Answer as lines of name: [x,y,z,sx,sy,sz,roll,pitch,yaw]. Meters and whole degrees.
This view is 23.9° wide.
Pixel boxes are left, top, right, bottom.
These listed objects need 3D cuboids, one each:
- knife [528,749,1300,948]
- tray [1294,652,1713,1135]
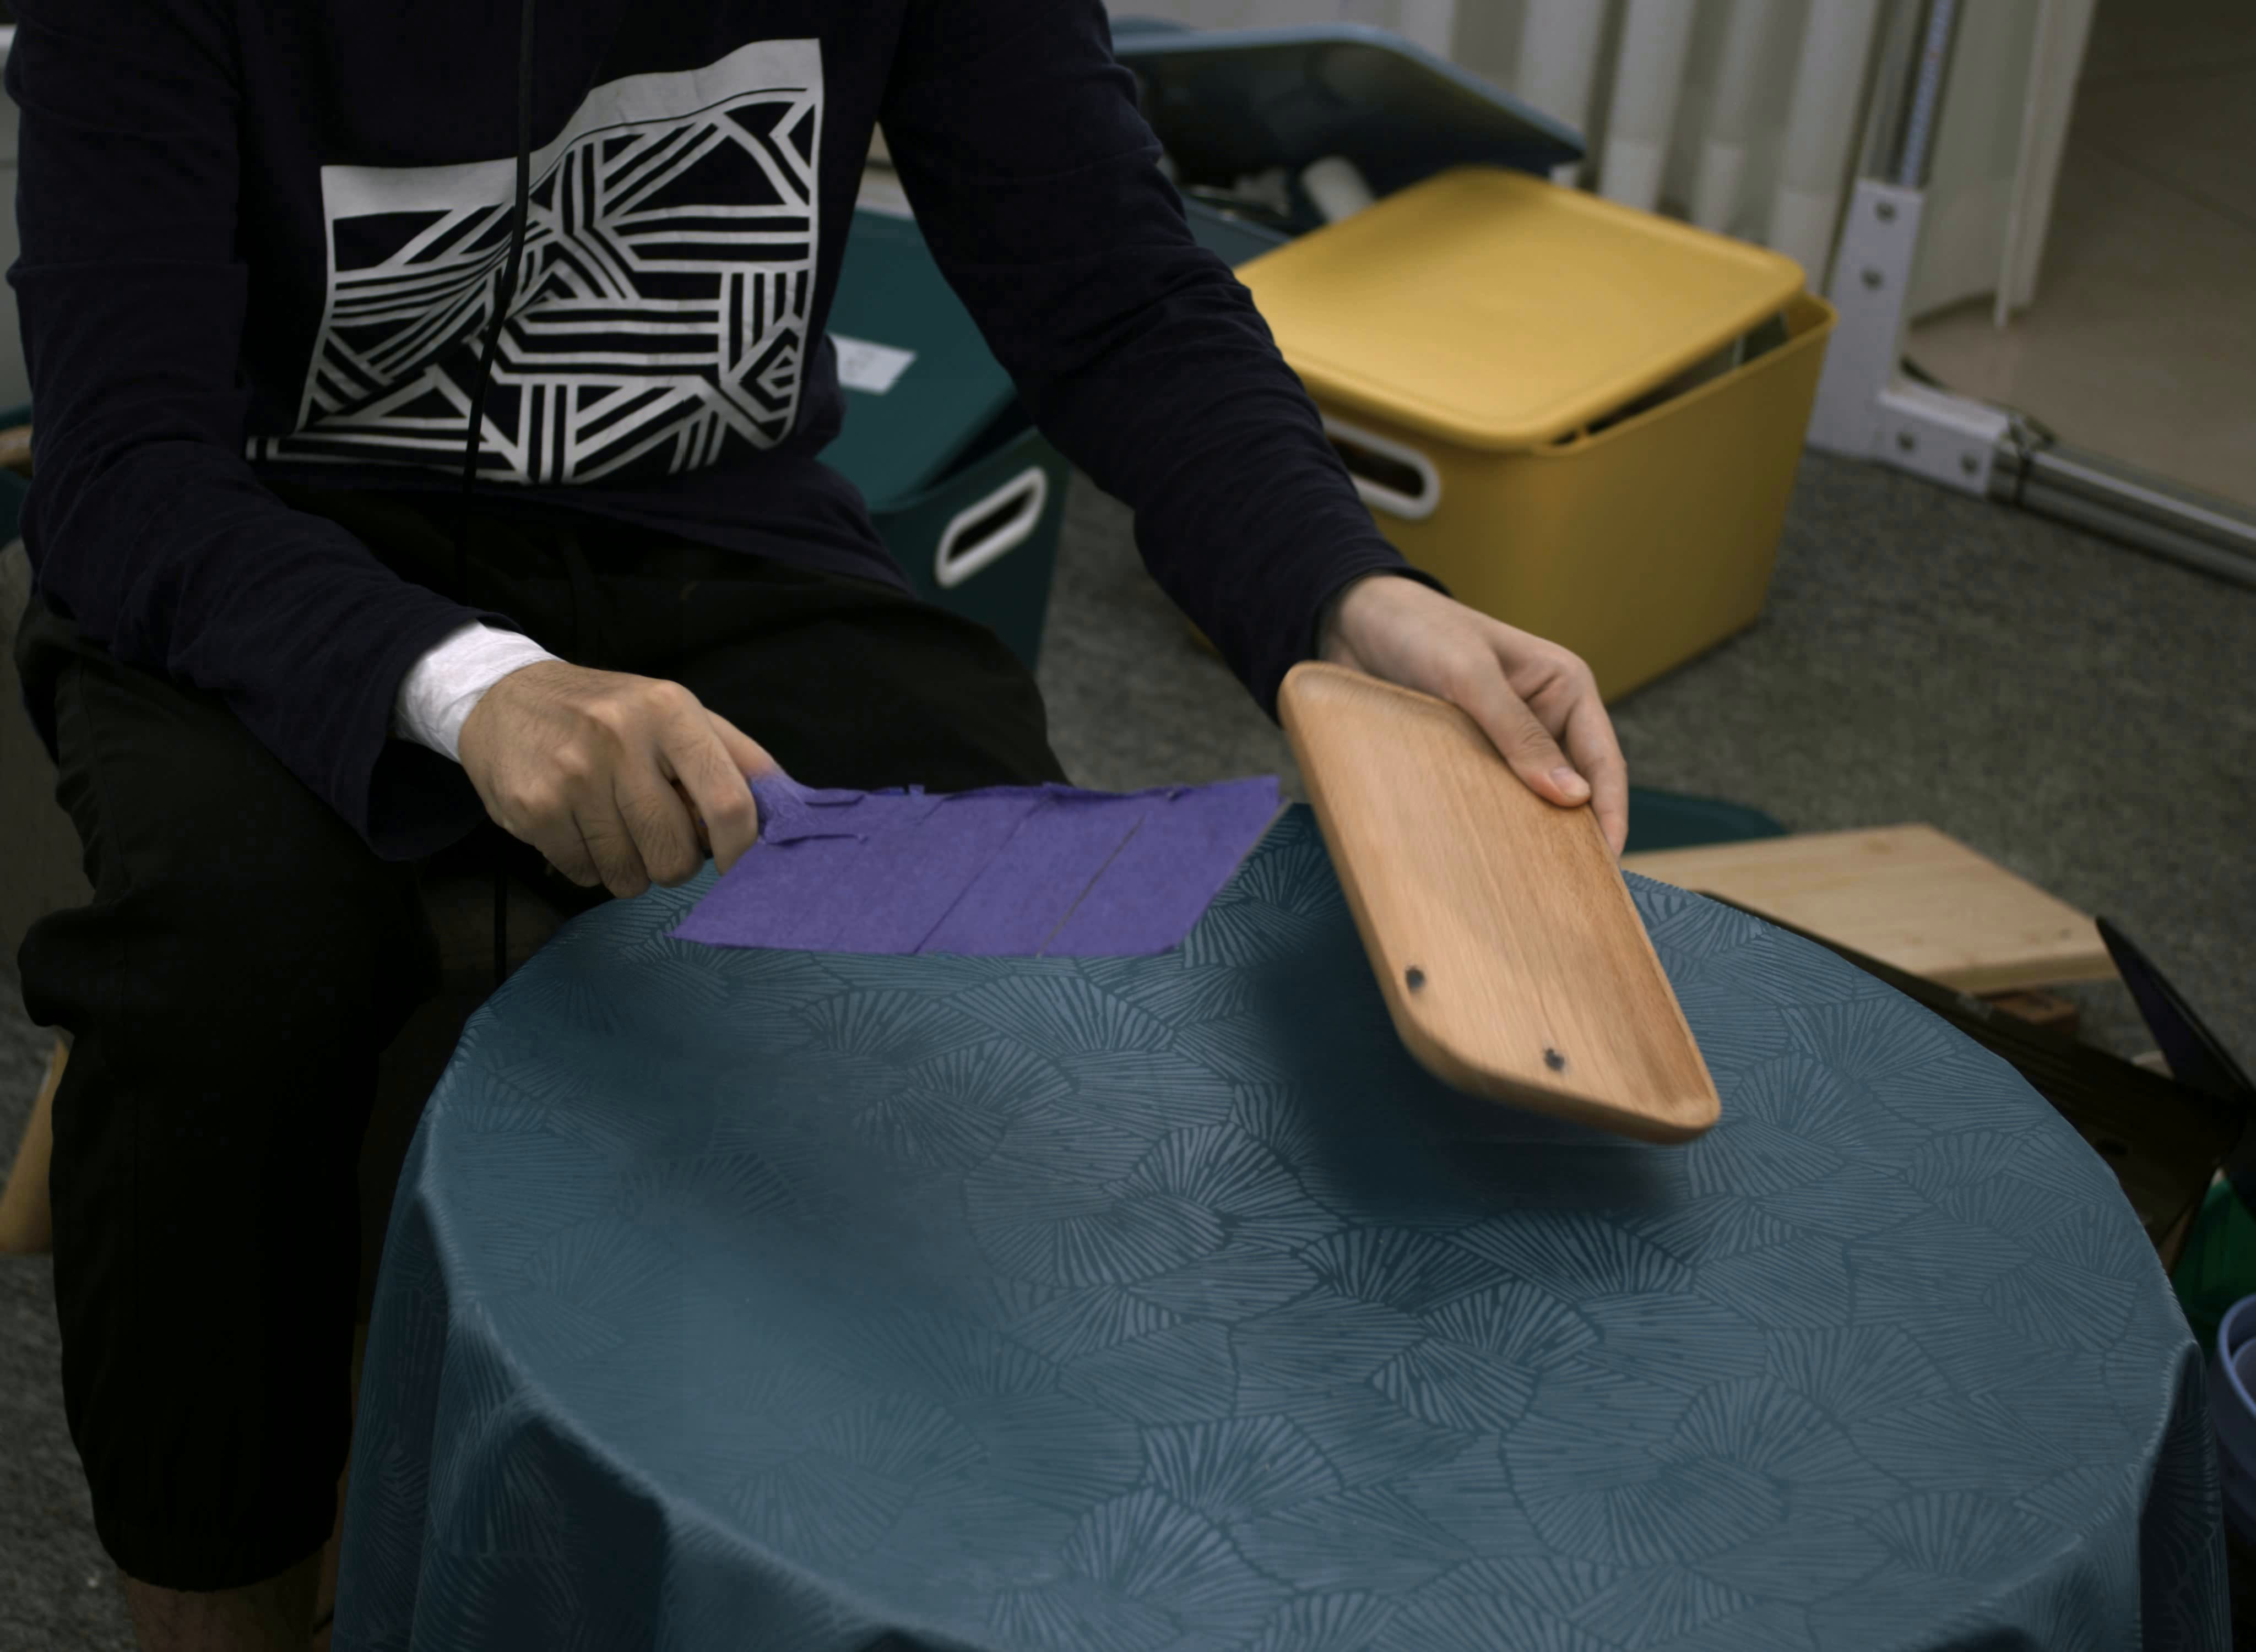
knife: [-0.093,0.008,1.780,0.316,0.032,0.104,-3,32,37]
tray: [0.129,0.022,1.893,0.129,0.023,0.253,23,25,-21]
